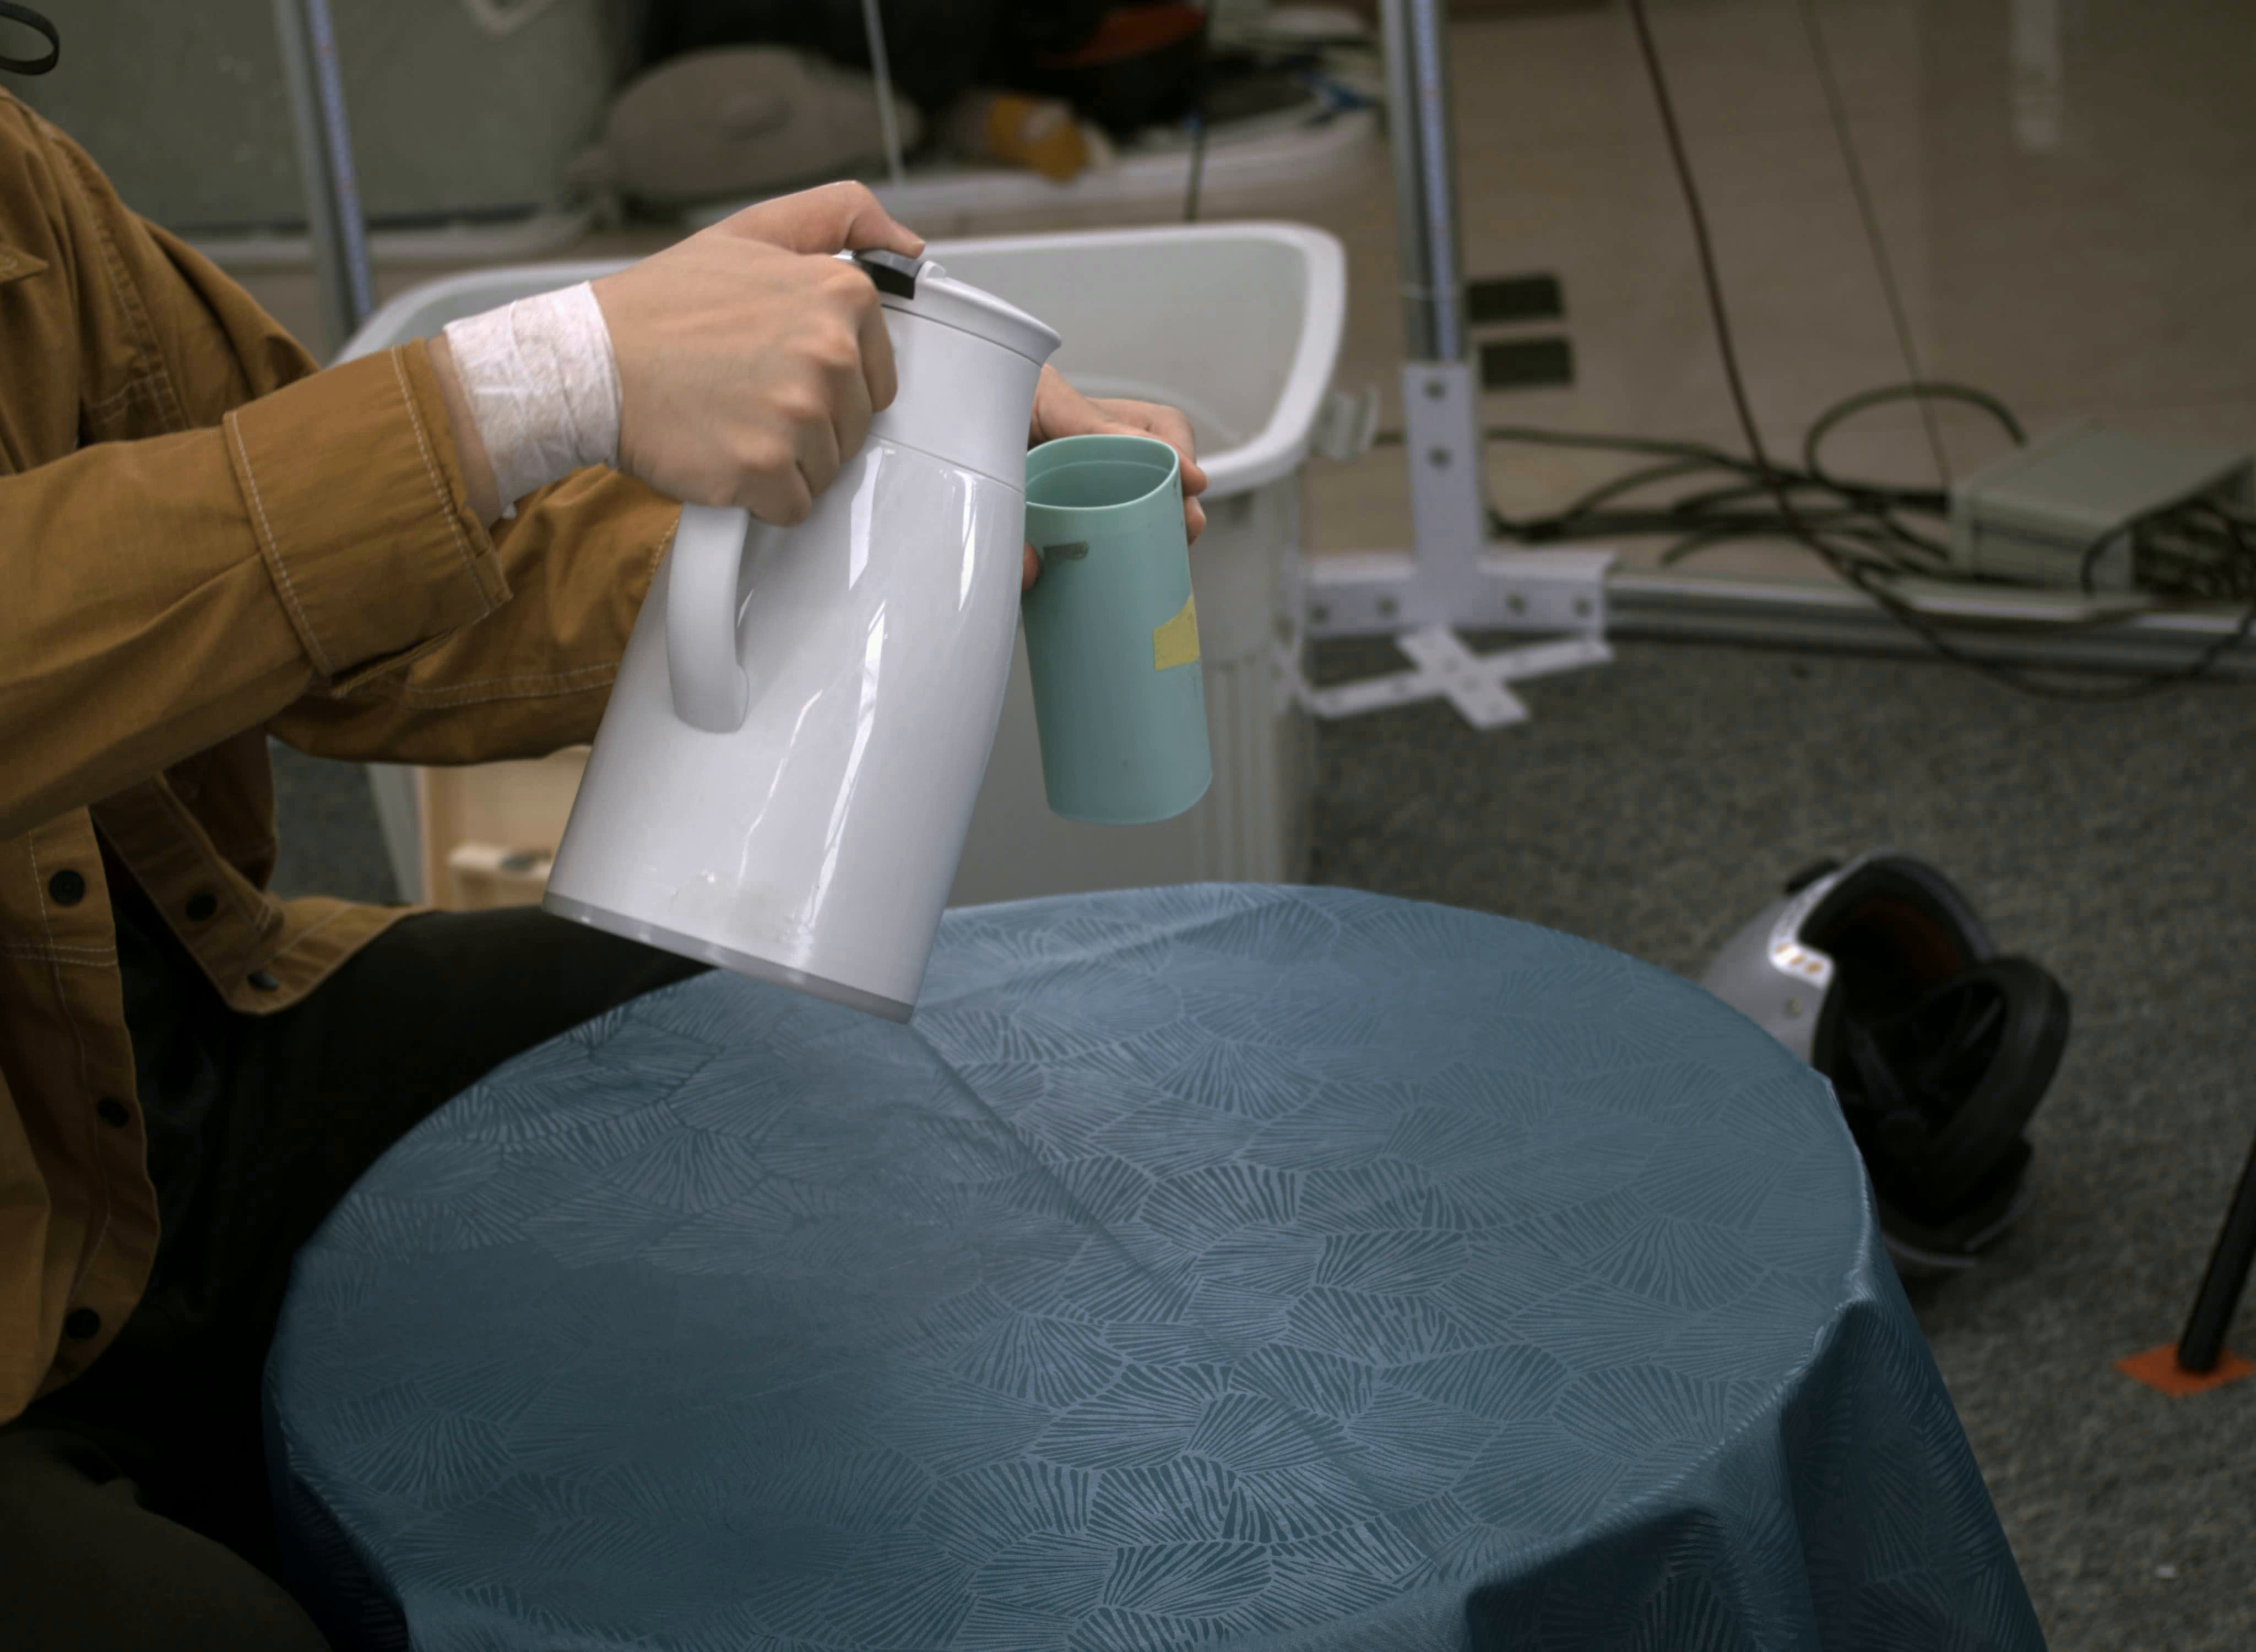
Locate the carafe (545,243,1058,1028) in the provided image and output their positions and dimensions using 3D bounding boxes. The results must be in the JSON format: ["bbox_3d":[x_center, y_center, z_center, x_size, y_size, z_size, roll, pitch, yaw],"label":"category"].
[{"bbox_3d":[-0.107,-0.071,1.915,0.132,0.249,0.168,17,0,24],"label":"carafe"}]

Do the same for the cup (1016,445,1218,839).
[{"bbox_3d":[-0.005,-0.068,2.078,0.066,0.134,0.065,-5,29,3],"label":"cup"}]
